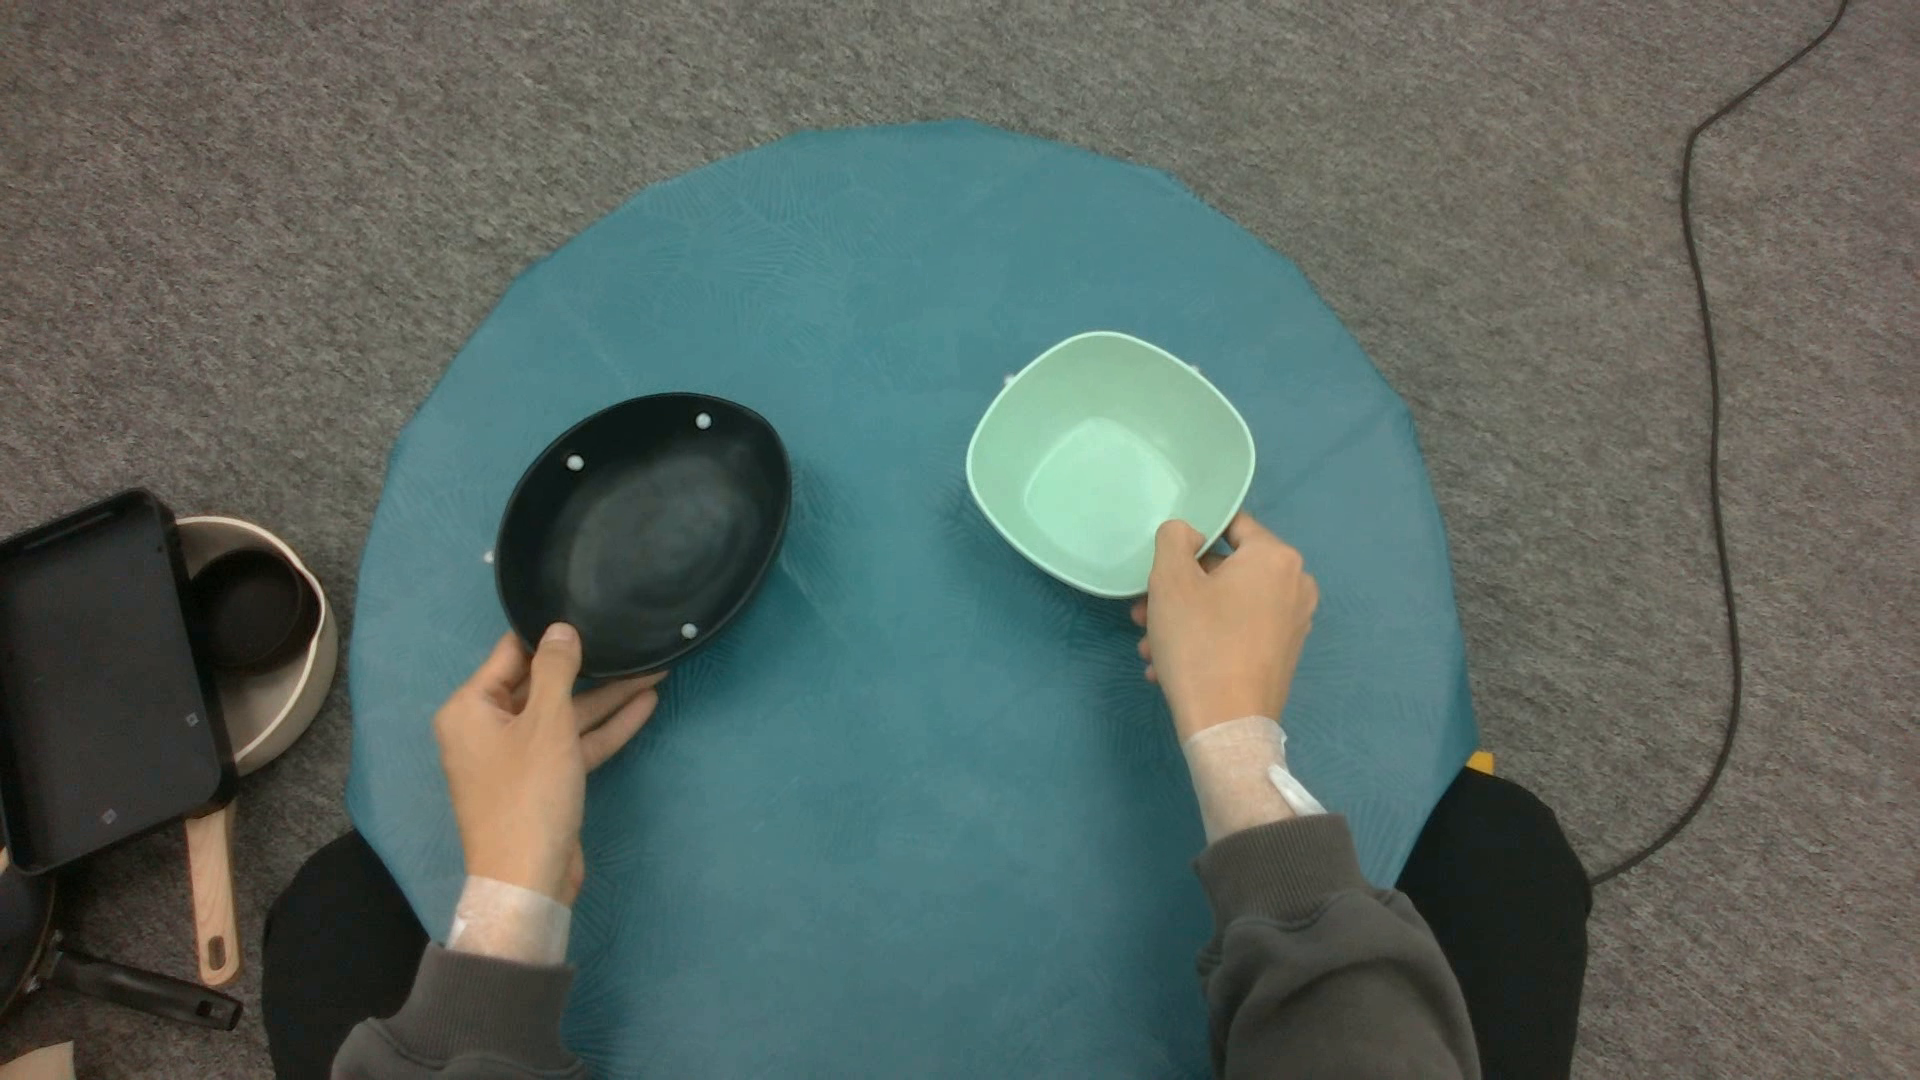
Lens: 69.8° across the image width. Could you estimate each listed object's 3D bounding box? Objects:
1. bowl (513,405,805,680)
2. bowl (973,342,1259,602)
[{"bbox_3d":[-0.156,0.005,0.744,0.137,0.066,0.171,32,72,13],"label":"bowl"},{"bbox_3d":[0.084,-0.030,0.753,0.151,0.058,0.152,-1,67,3],"label":"bowl"}]
